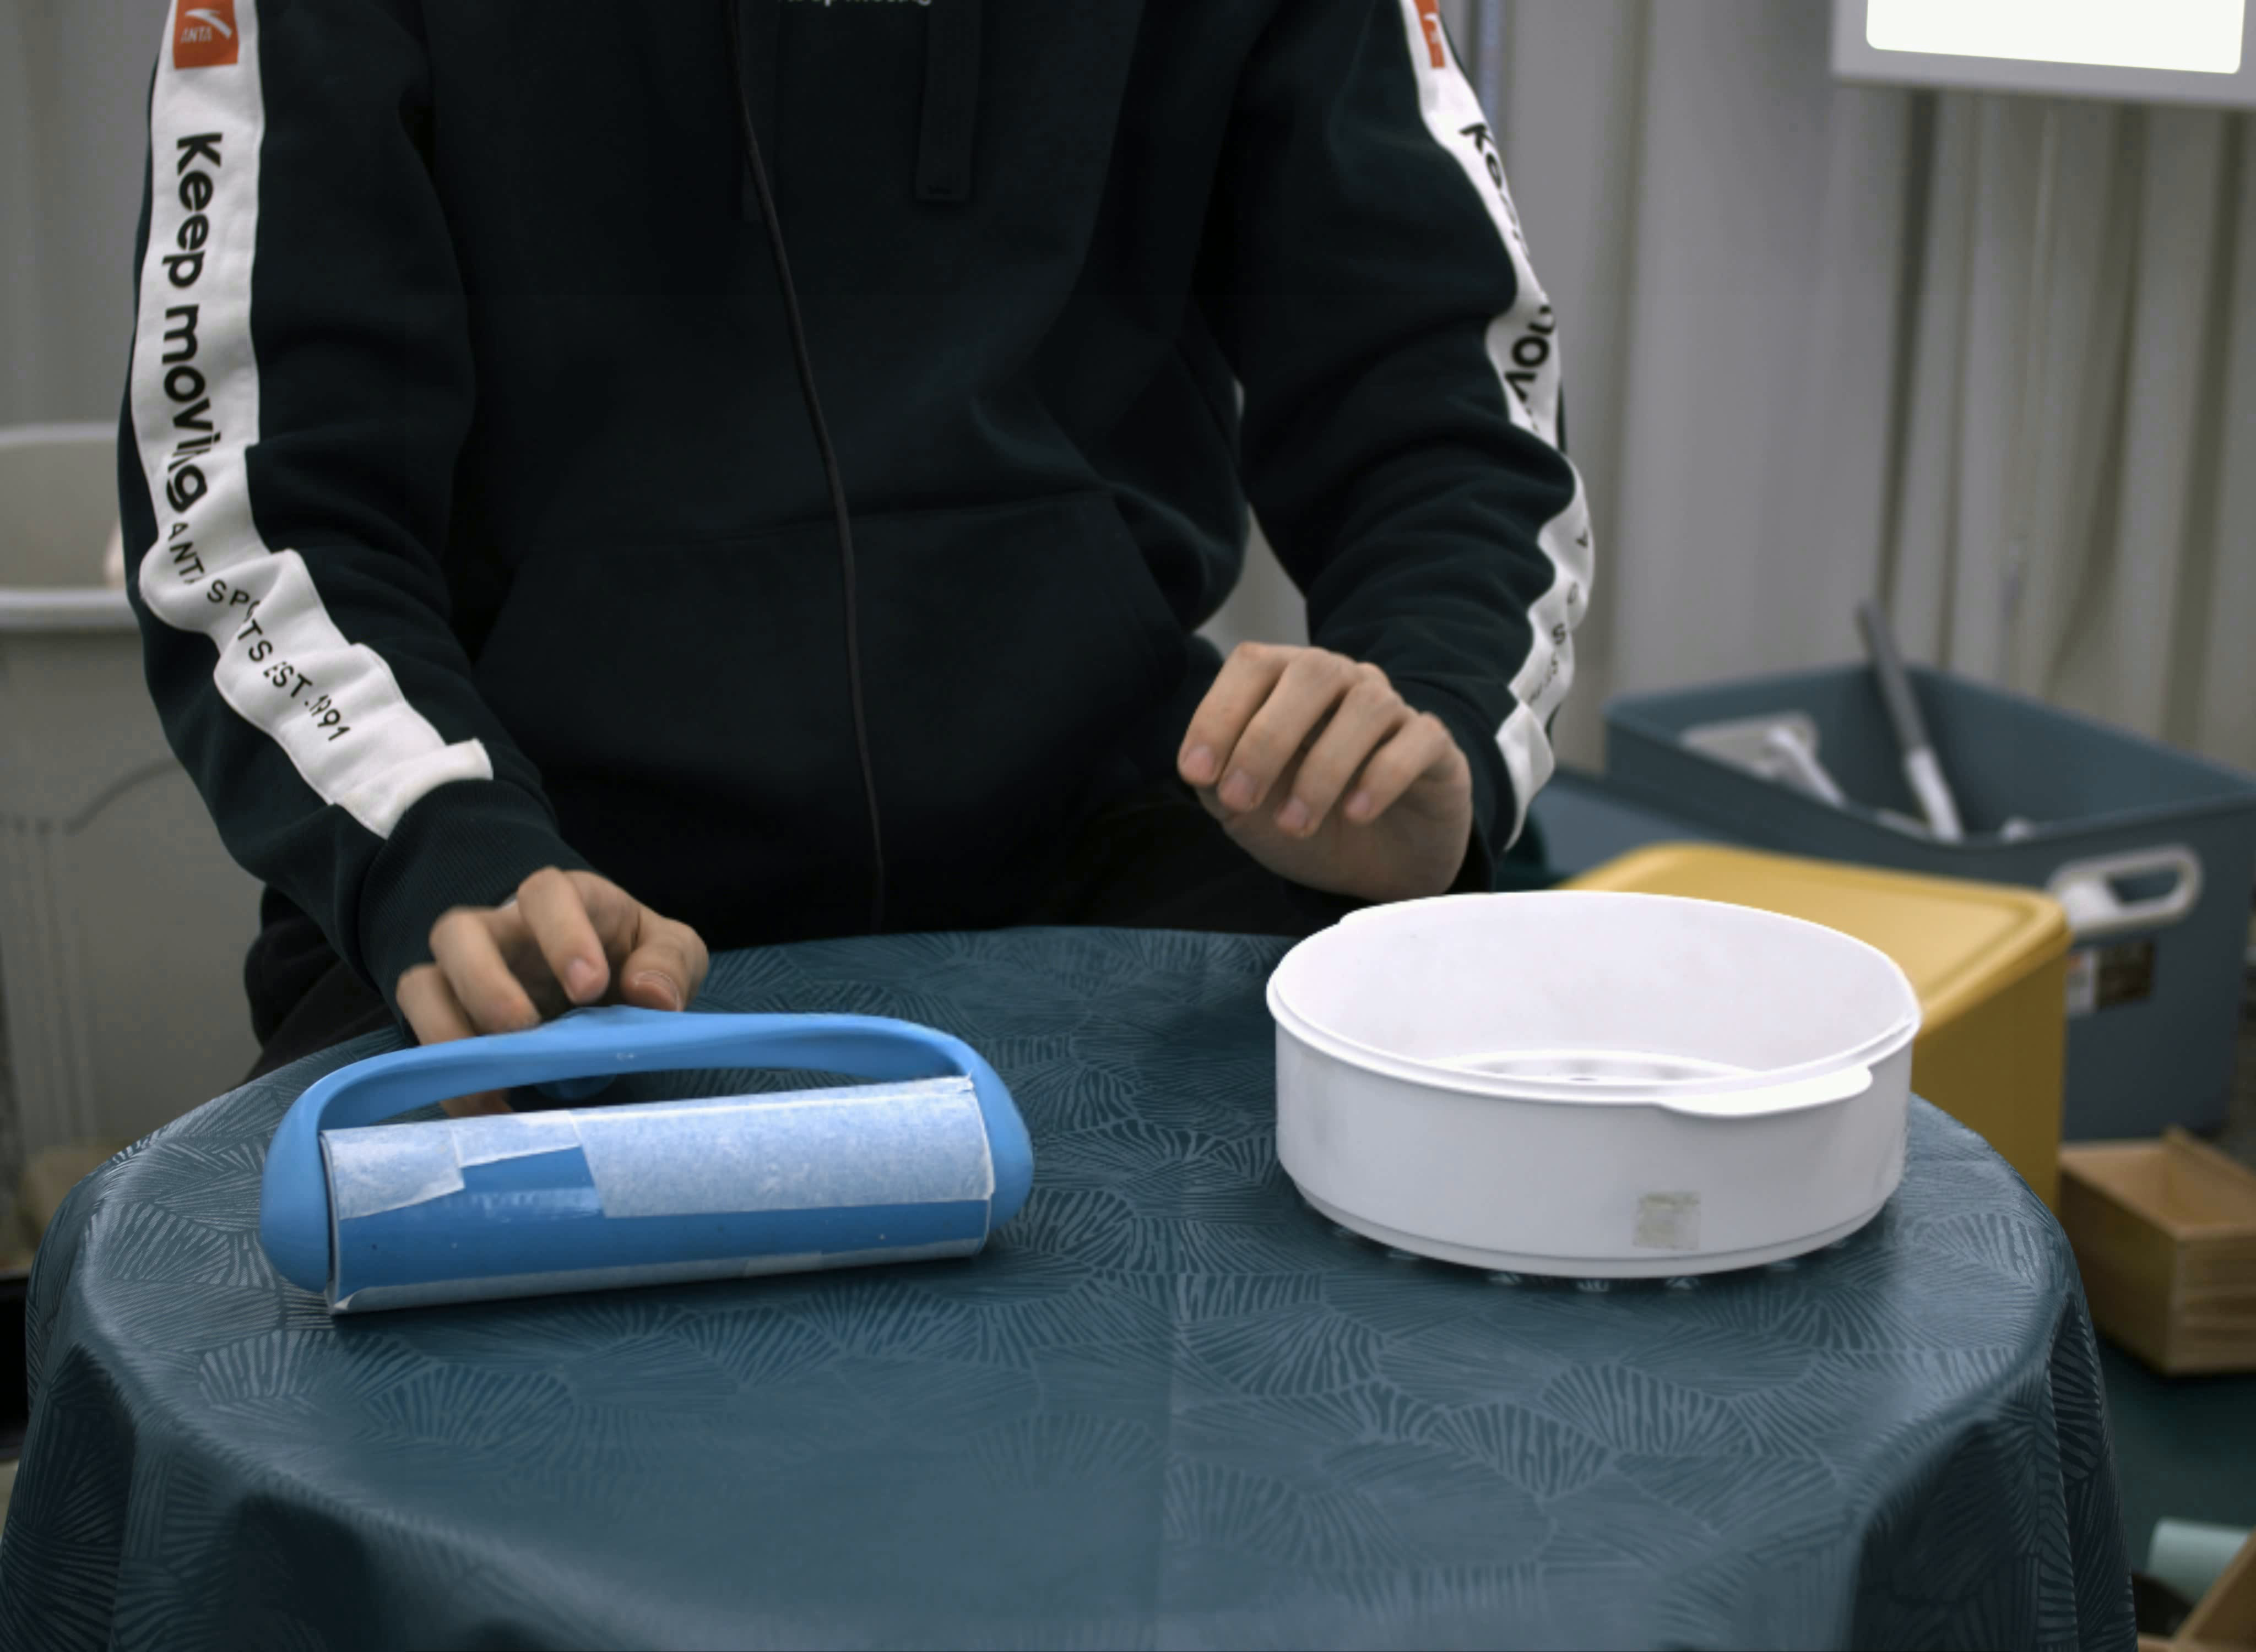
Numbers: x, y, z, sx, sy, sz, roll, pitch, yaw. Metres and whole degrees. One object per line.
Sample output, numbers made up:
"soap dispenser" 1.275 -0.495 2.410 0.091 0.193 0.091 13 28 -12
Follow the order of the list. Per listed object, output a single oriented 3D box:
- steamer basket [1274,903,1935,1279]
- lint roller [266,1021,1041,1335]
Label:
"steamer basket" 0.145 0.080 1.611 0.203 0.070 0.228 -7 16 -26
"lint roller" -0.156 0.090 1.582 0.229 0.068 0.178 -8 21 -19
